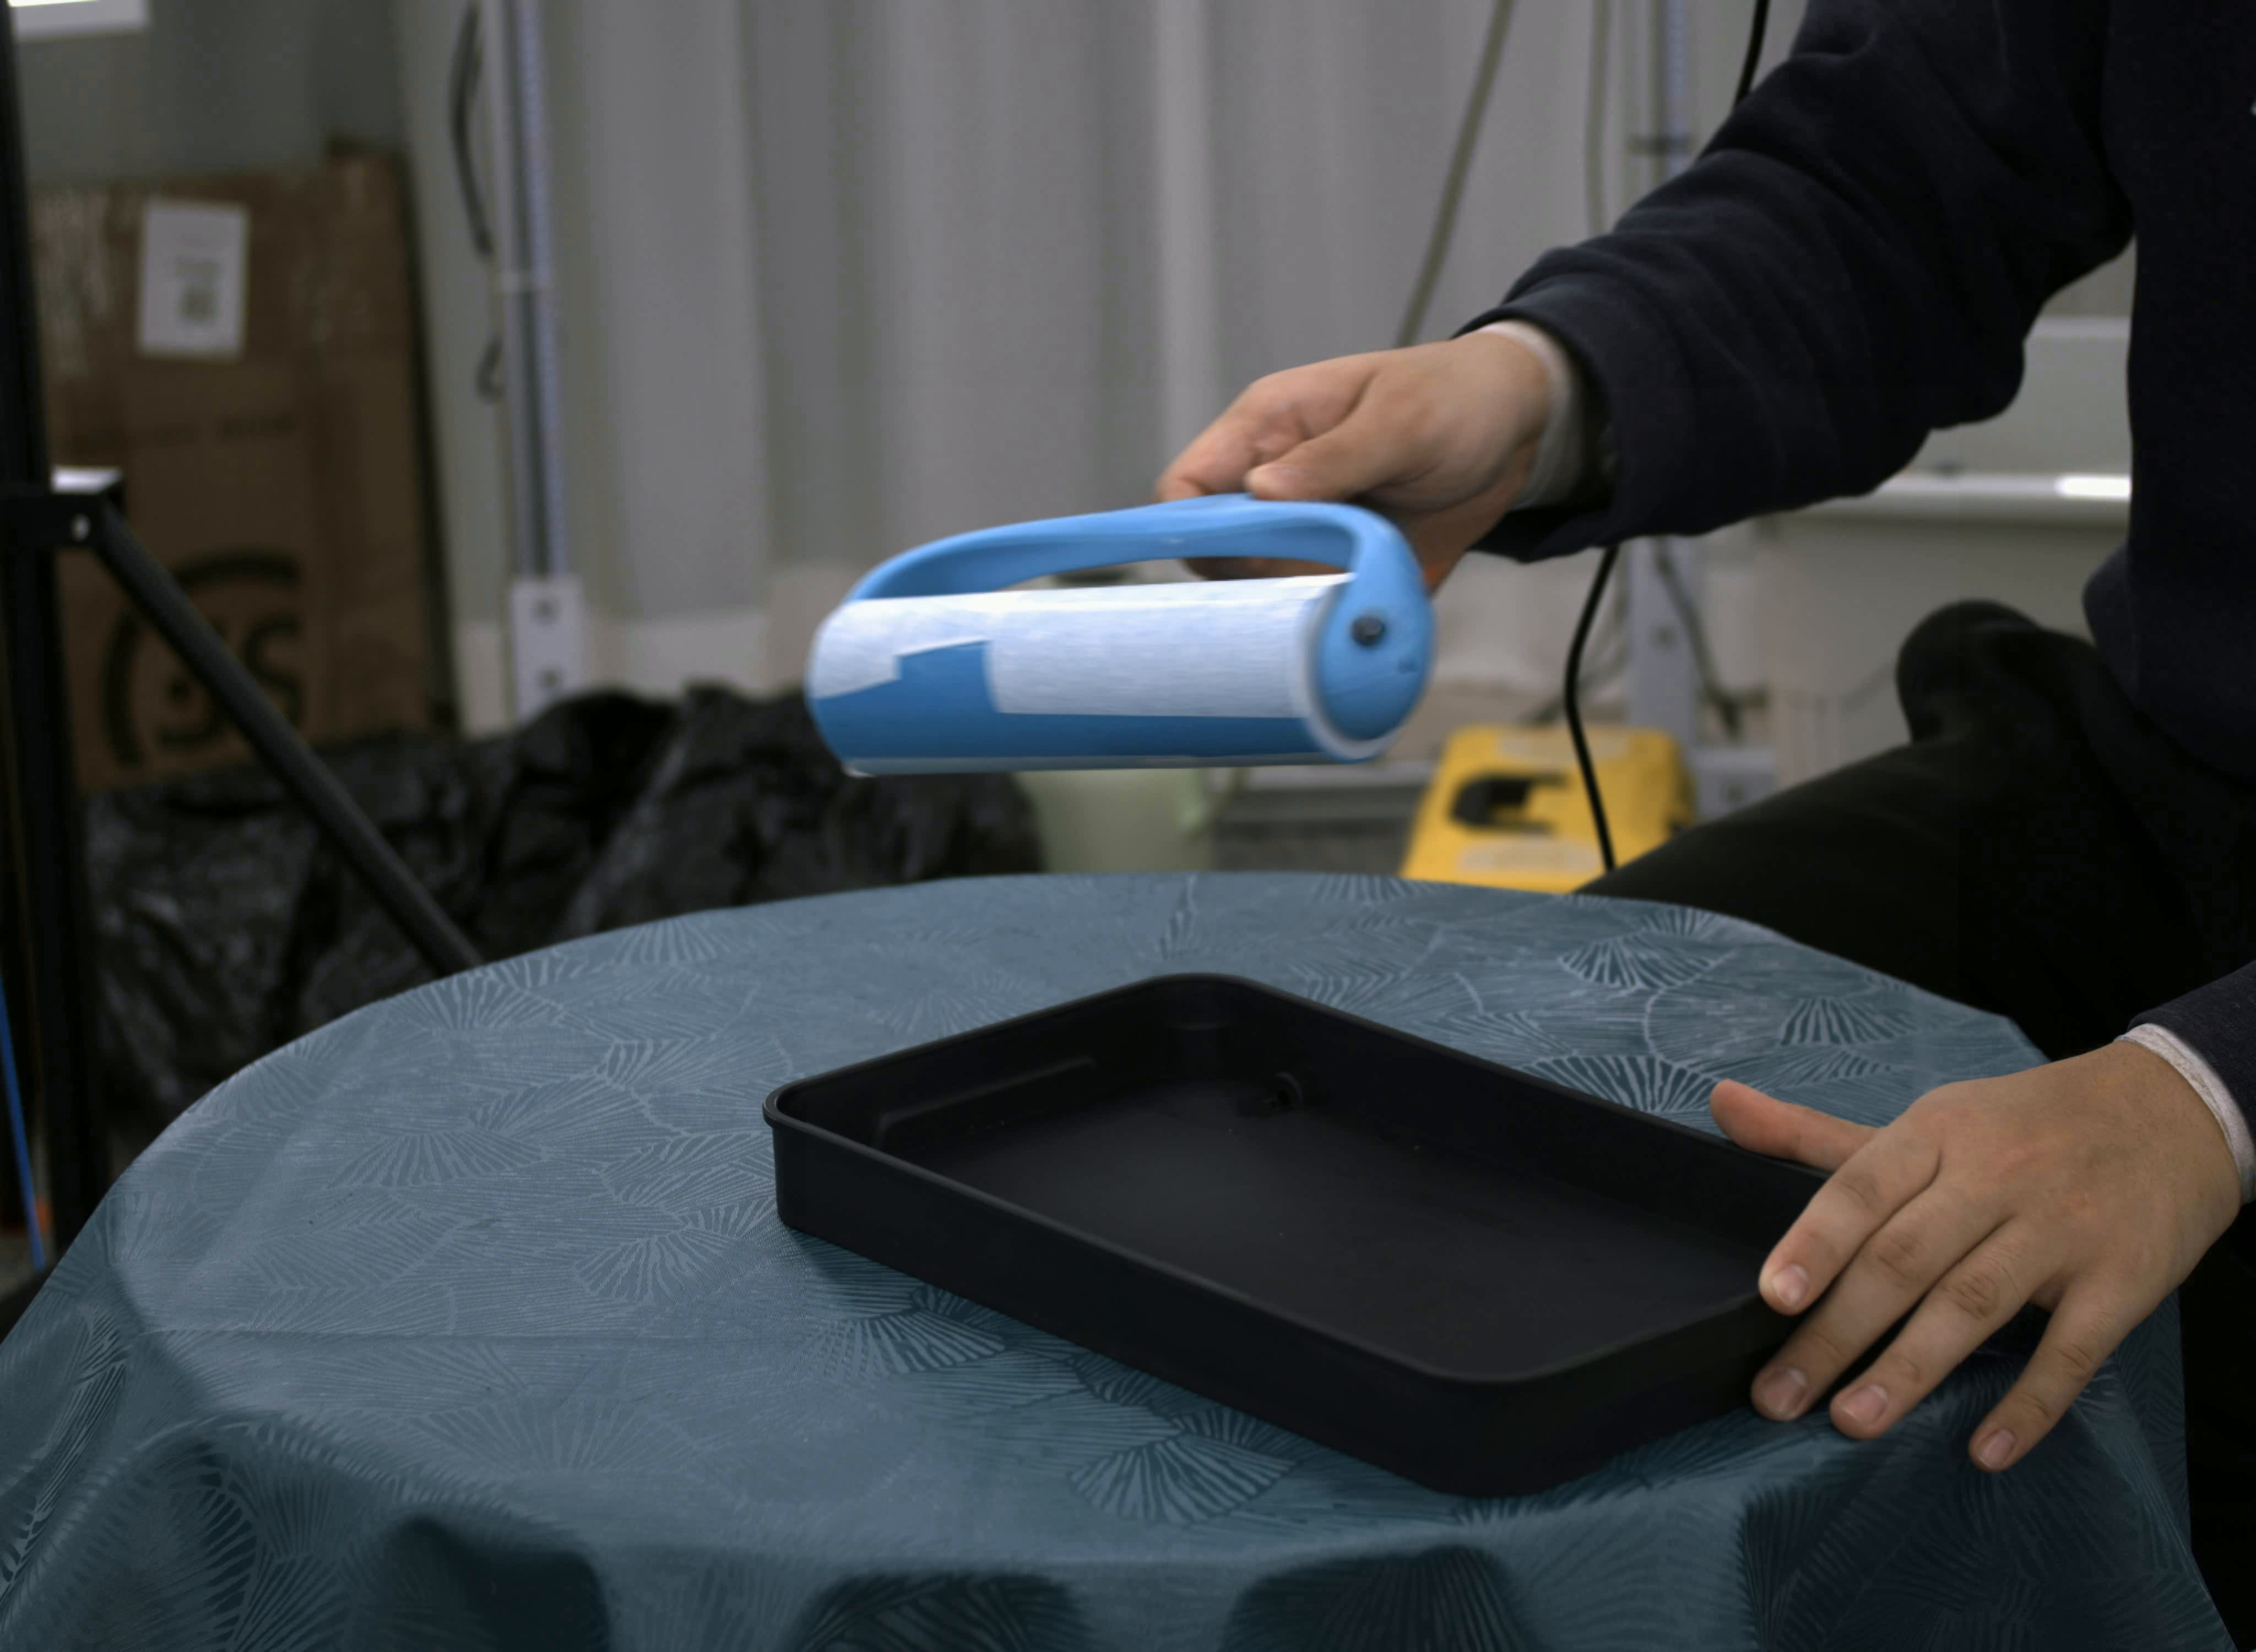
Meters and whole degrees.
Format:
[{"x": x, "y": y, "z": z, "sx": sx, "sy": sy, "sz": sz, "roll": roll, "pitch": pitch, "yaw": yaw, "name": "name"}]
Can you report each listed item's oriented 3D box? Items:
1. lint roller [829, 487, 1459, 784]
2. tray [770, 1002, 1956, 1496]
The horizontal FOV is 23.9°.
[{"x": 0.033, "y": -0.069, "z": 1.584, "sx": 0.233, "sy": 0.067, "sz": 0.177, "roll": -5, "pitch": 22, "yaw": 42, "name": "lint roller"}, {"x": 0.060, "y": 0.112, "z": 1.480, "sx": 0.180, "sy": 0.037, "sz": 0.325, "roll": -15, "pitch": 18, "yaw": -37, "name": "tray"}]
